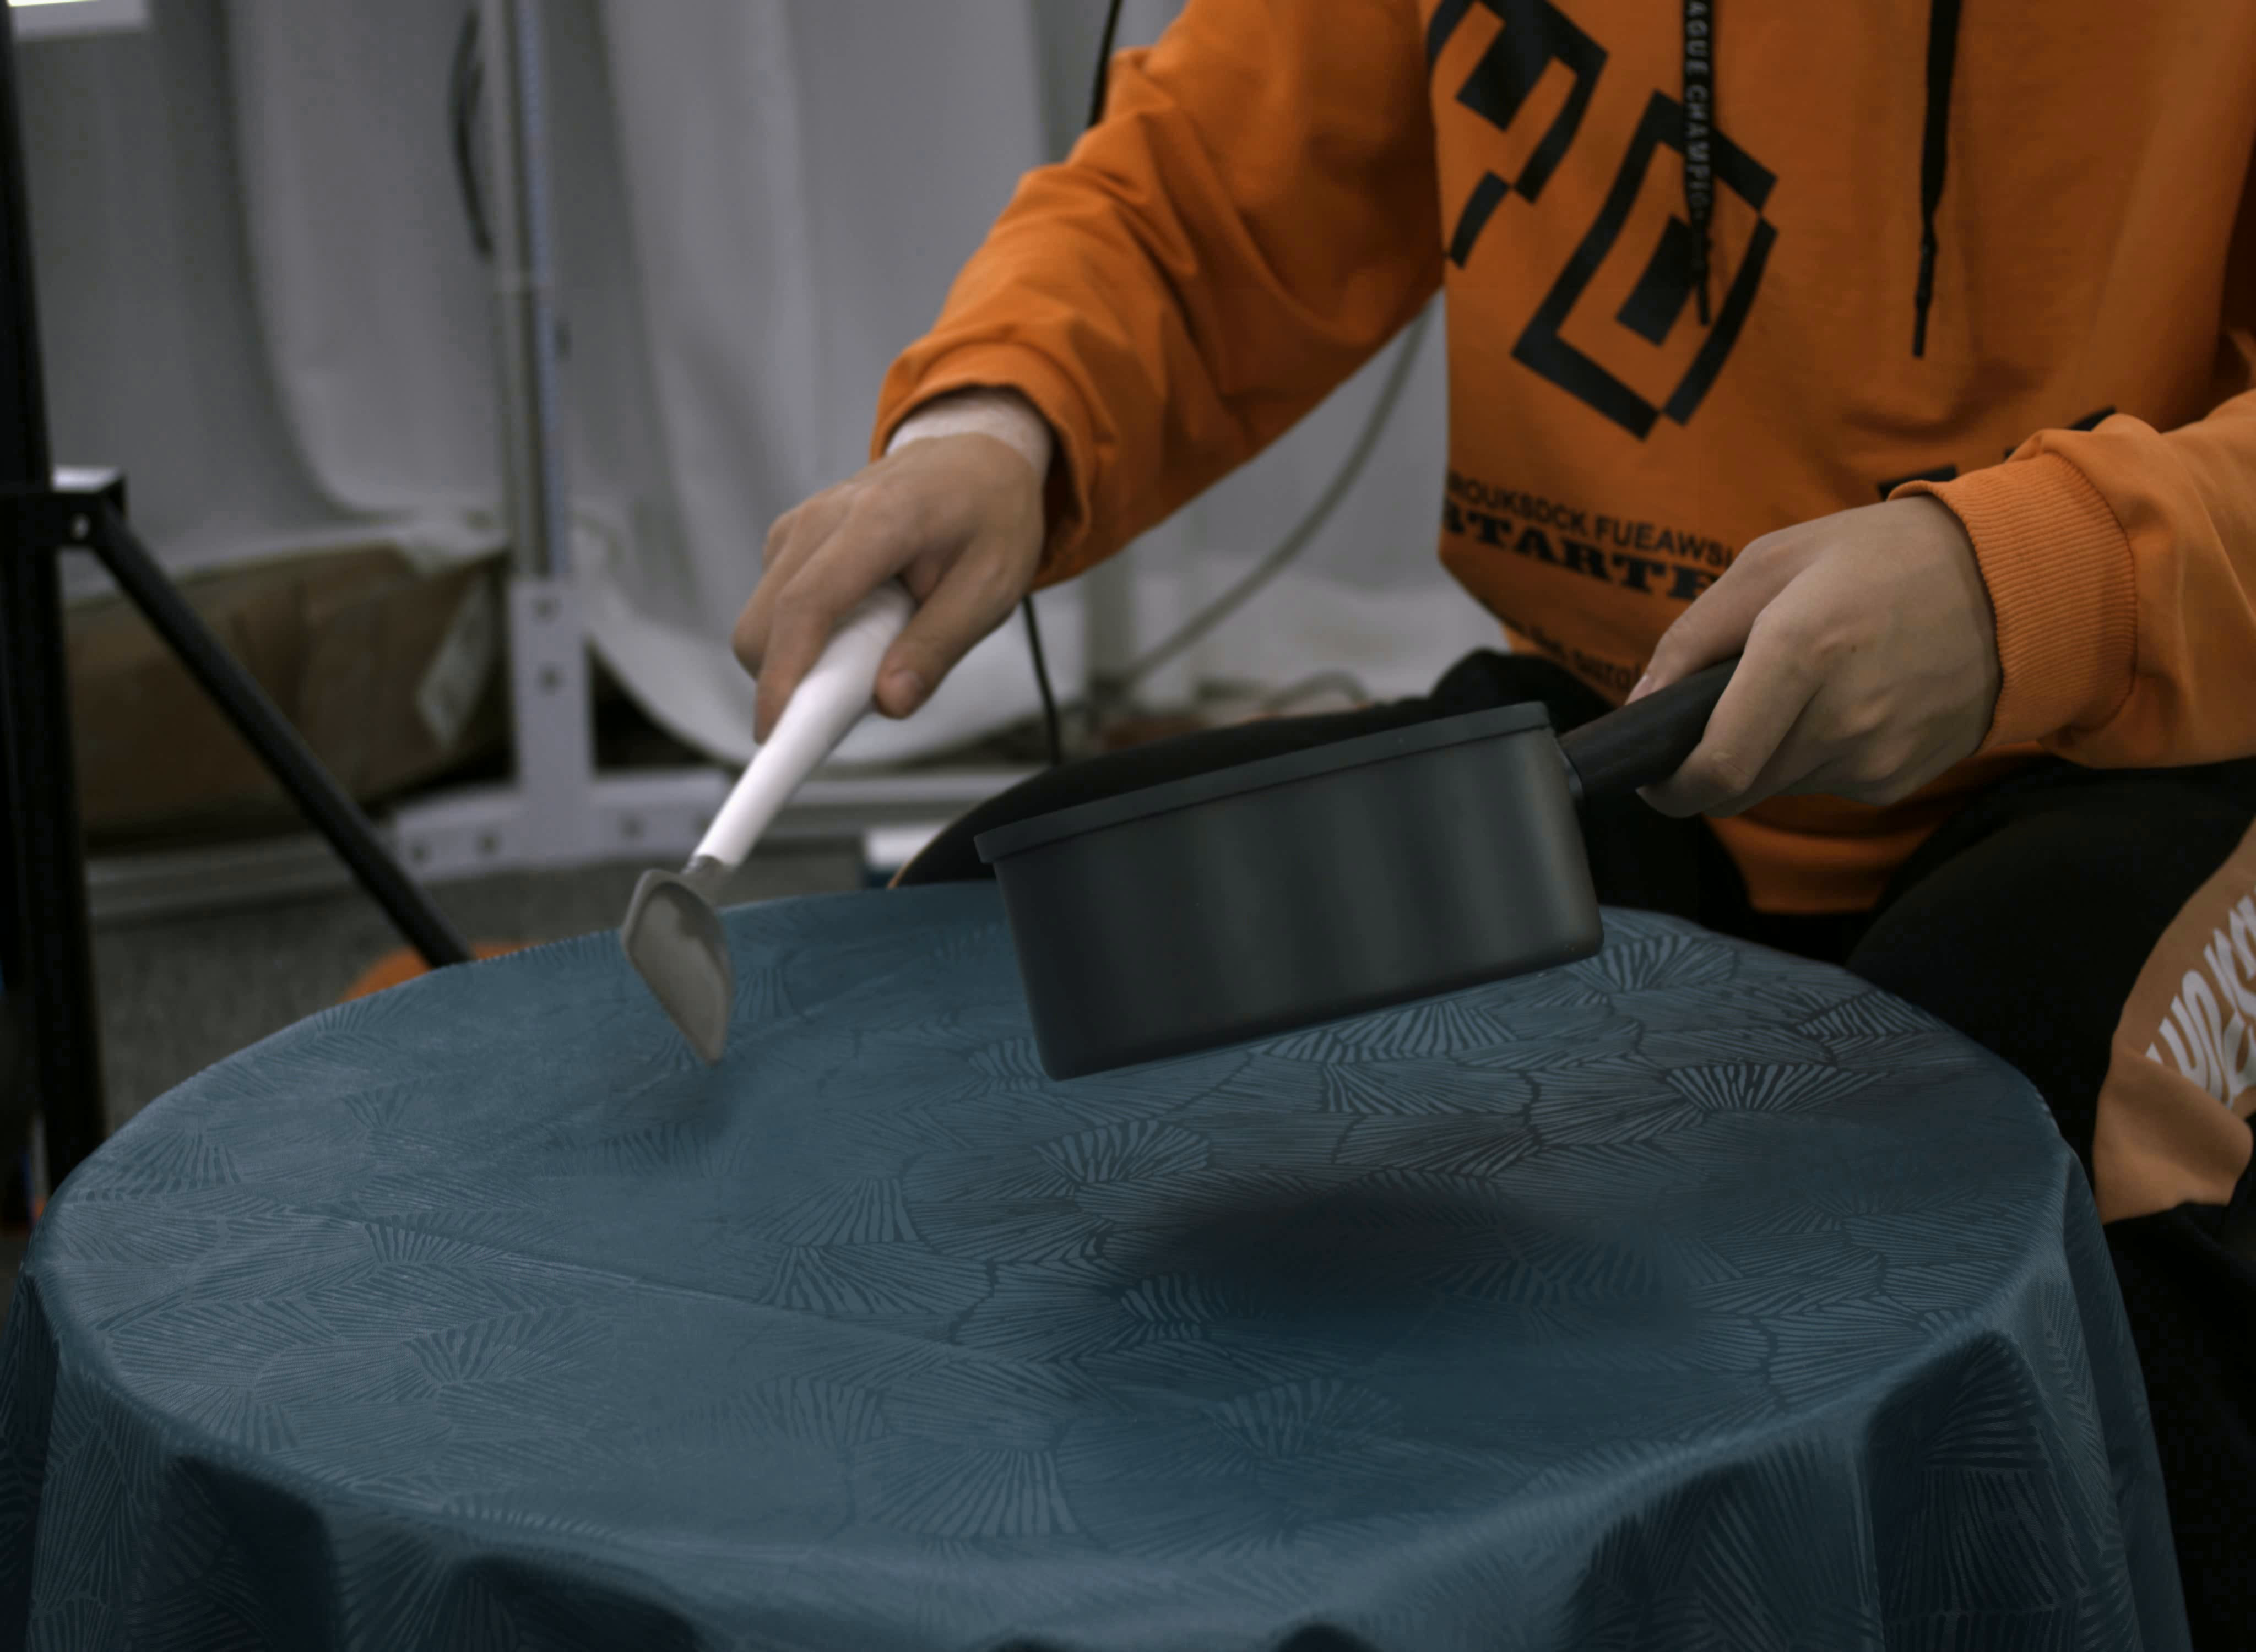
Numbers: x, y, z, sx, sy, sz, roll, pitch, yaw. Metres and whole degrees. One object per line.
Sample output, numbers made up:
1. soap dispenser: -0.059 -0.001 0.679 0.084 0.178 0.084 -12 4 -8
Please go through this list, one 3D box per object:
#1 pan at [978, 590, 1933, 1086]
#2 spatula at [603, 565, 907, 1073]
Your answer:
1. pan: 0.112 0.003 1.536 0.321 0.087 0.175 -13 -1 -32
2. spatula: -0.121 -0.008 1.739 0.032 0.058 0.287 -22 21 24
